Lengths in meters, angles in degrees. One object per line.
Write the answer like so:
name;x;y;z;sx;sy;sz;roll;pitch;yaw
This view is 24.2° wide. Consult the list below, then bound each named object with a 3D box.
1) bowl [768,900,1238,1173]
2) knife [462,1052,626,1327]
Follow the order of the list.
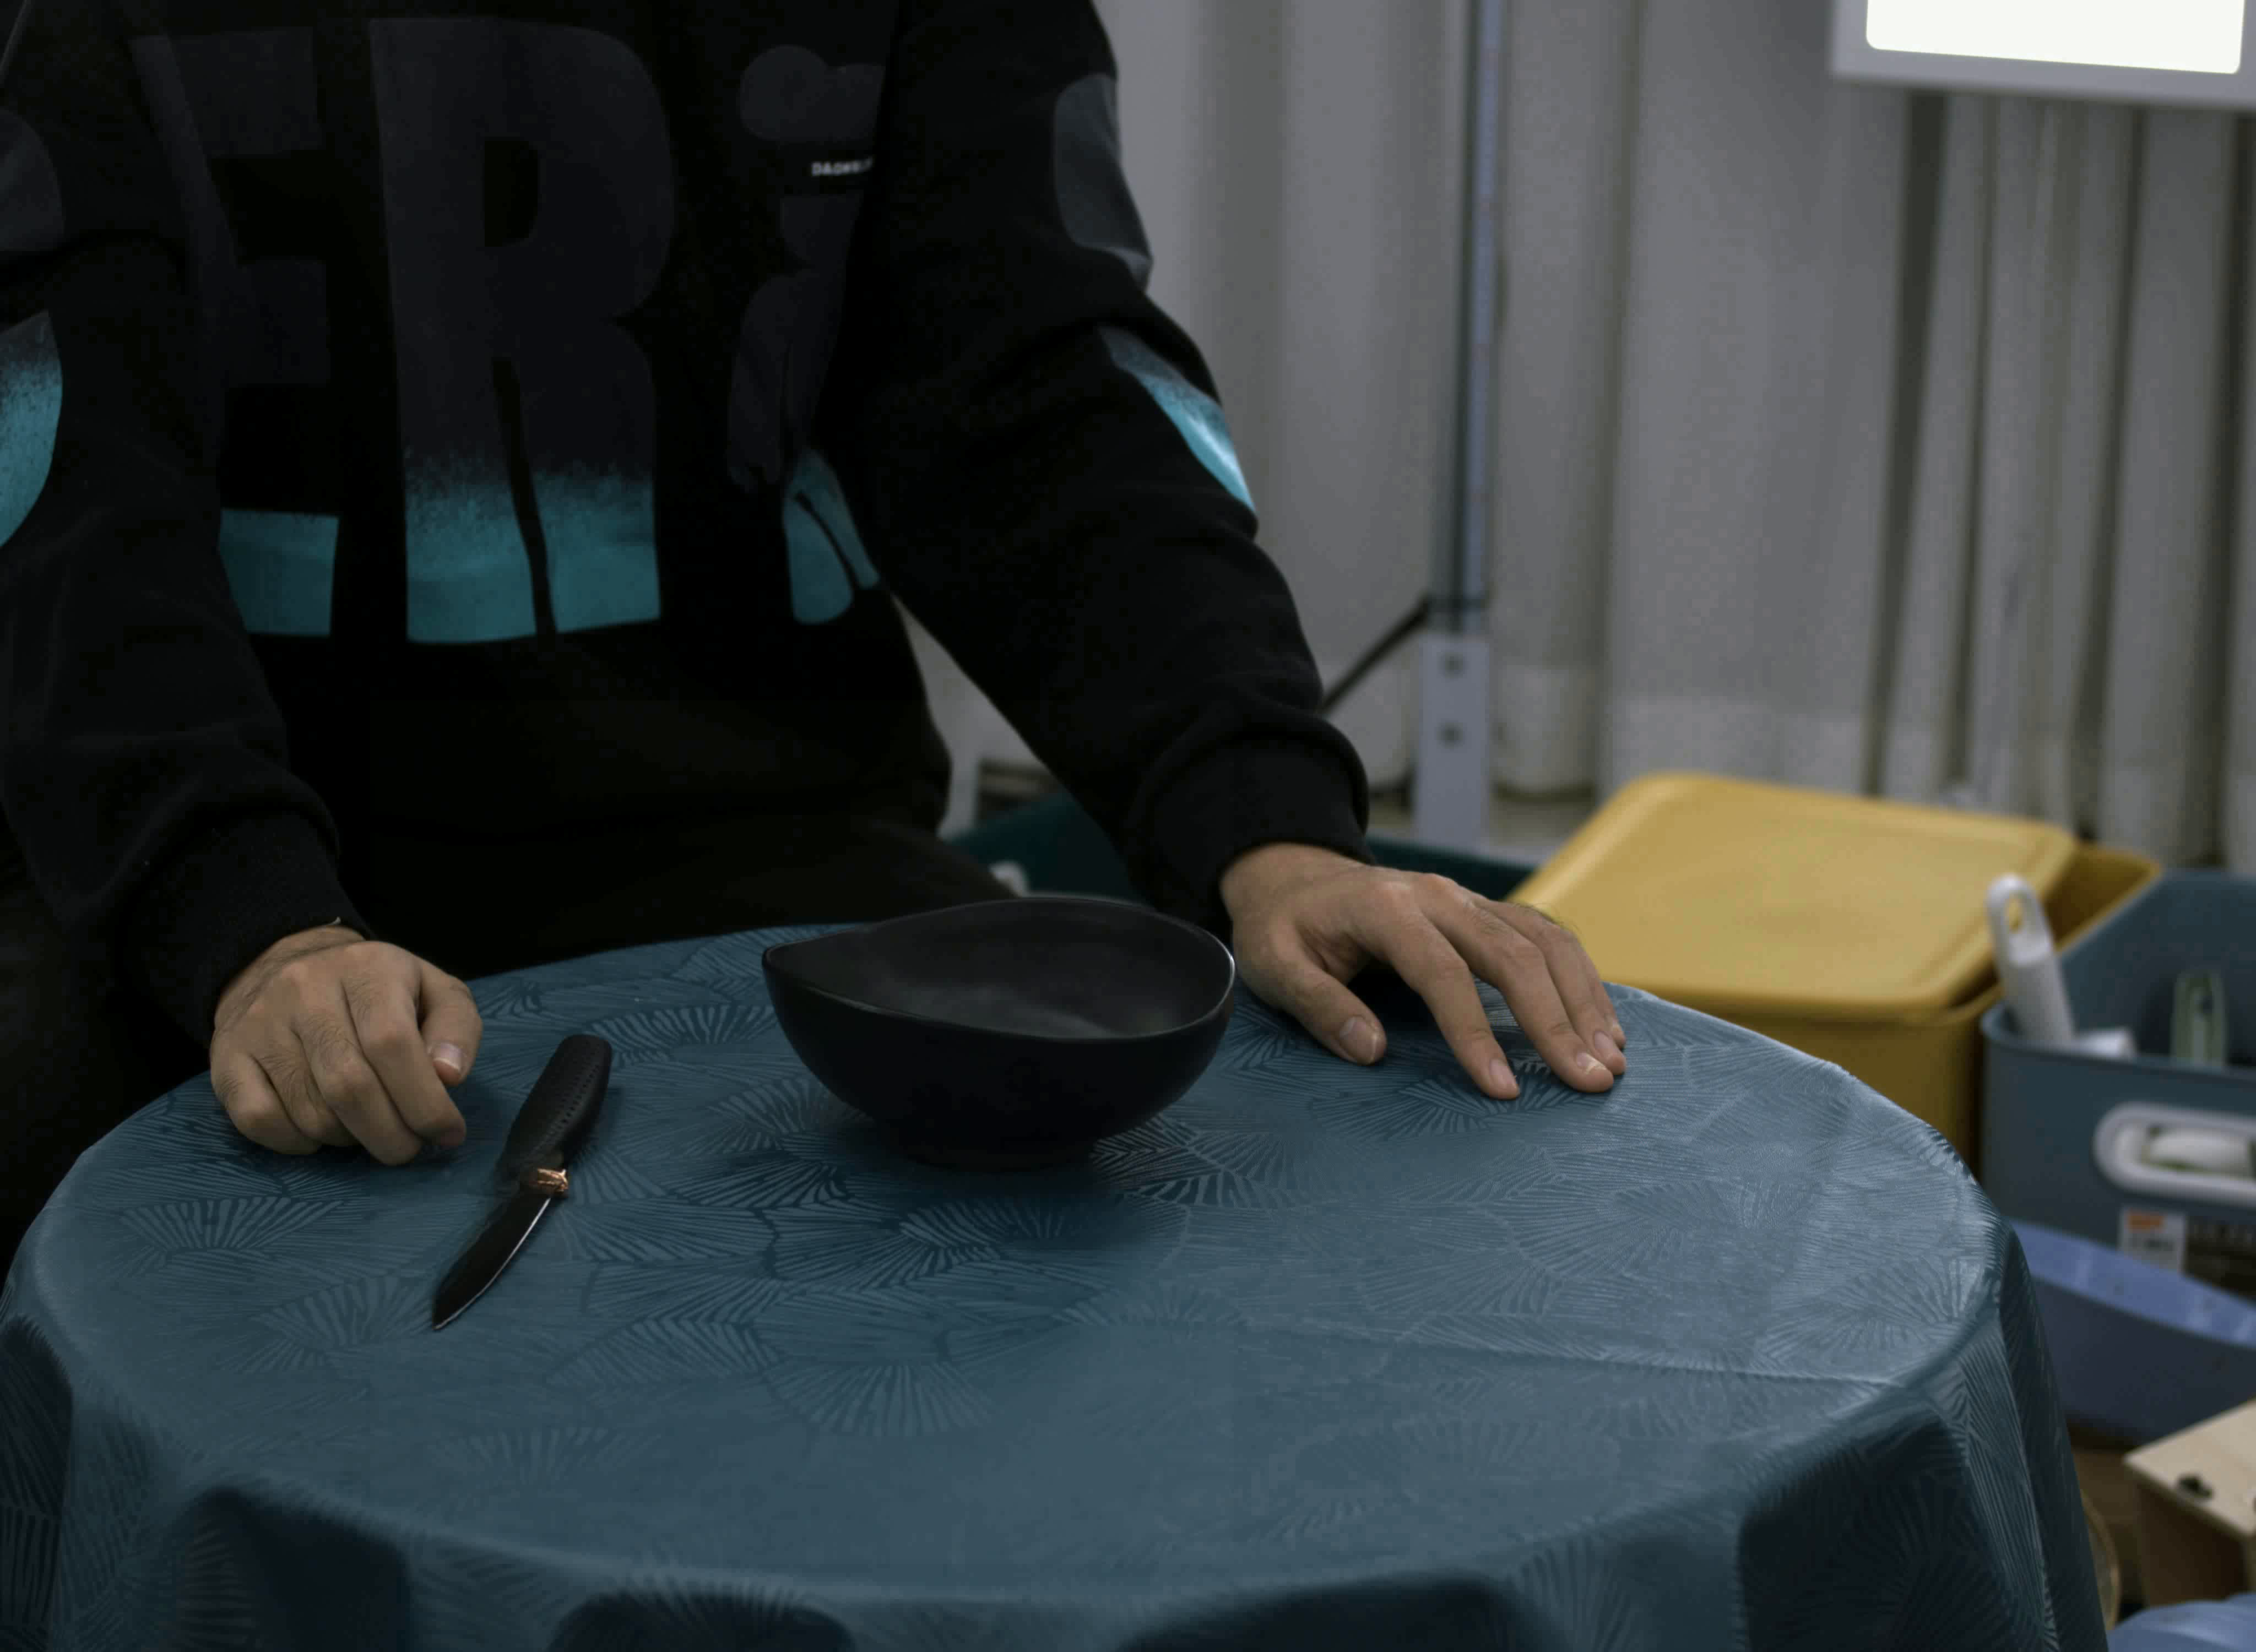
bowl;-0.041;0.069;1.656;0.138;0.067;0.168;-13;18;-40
knife;-0.181;0.110;1.604;0.026;0.017;0.224;-2;16;6
